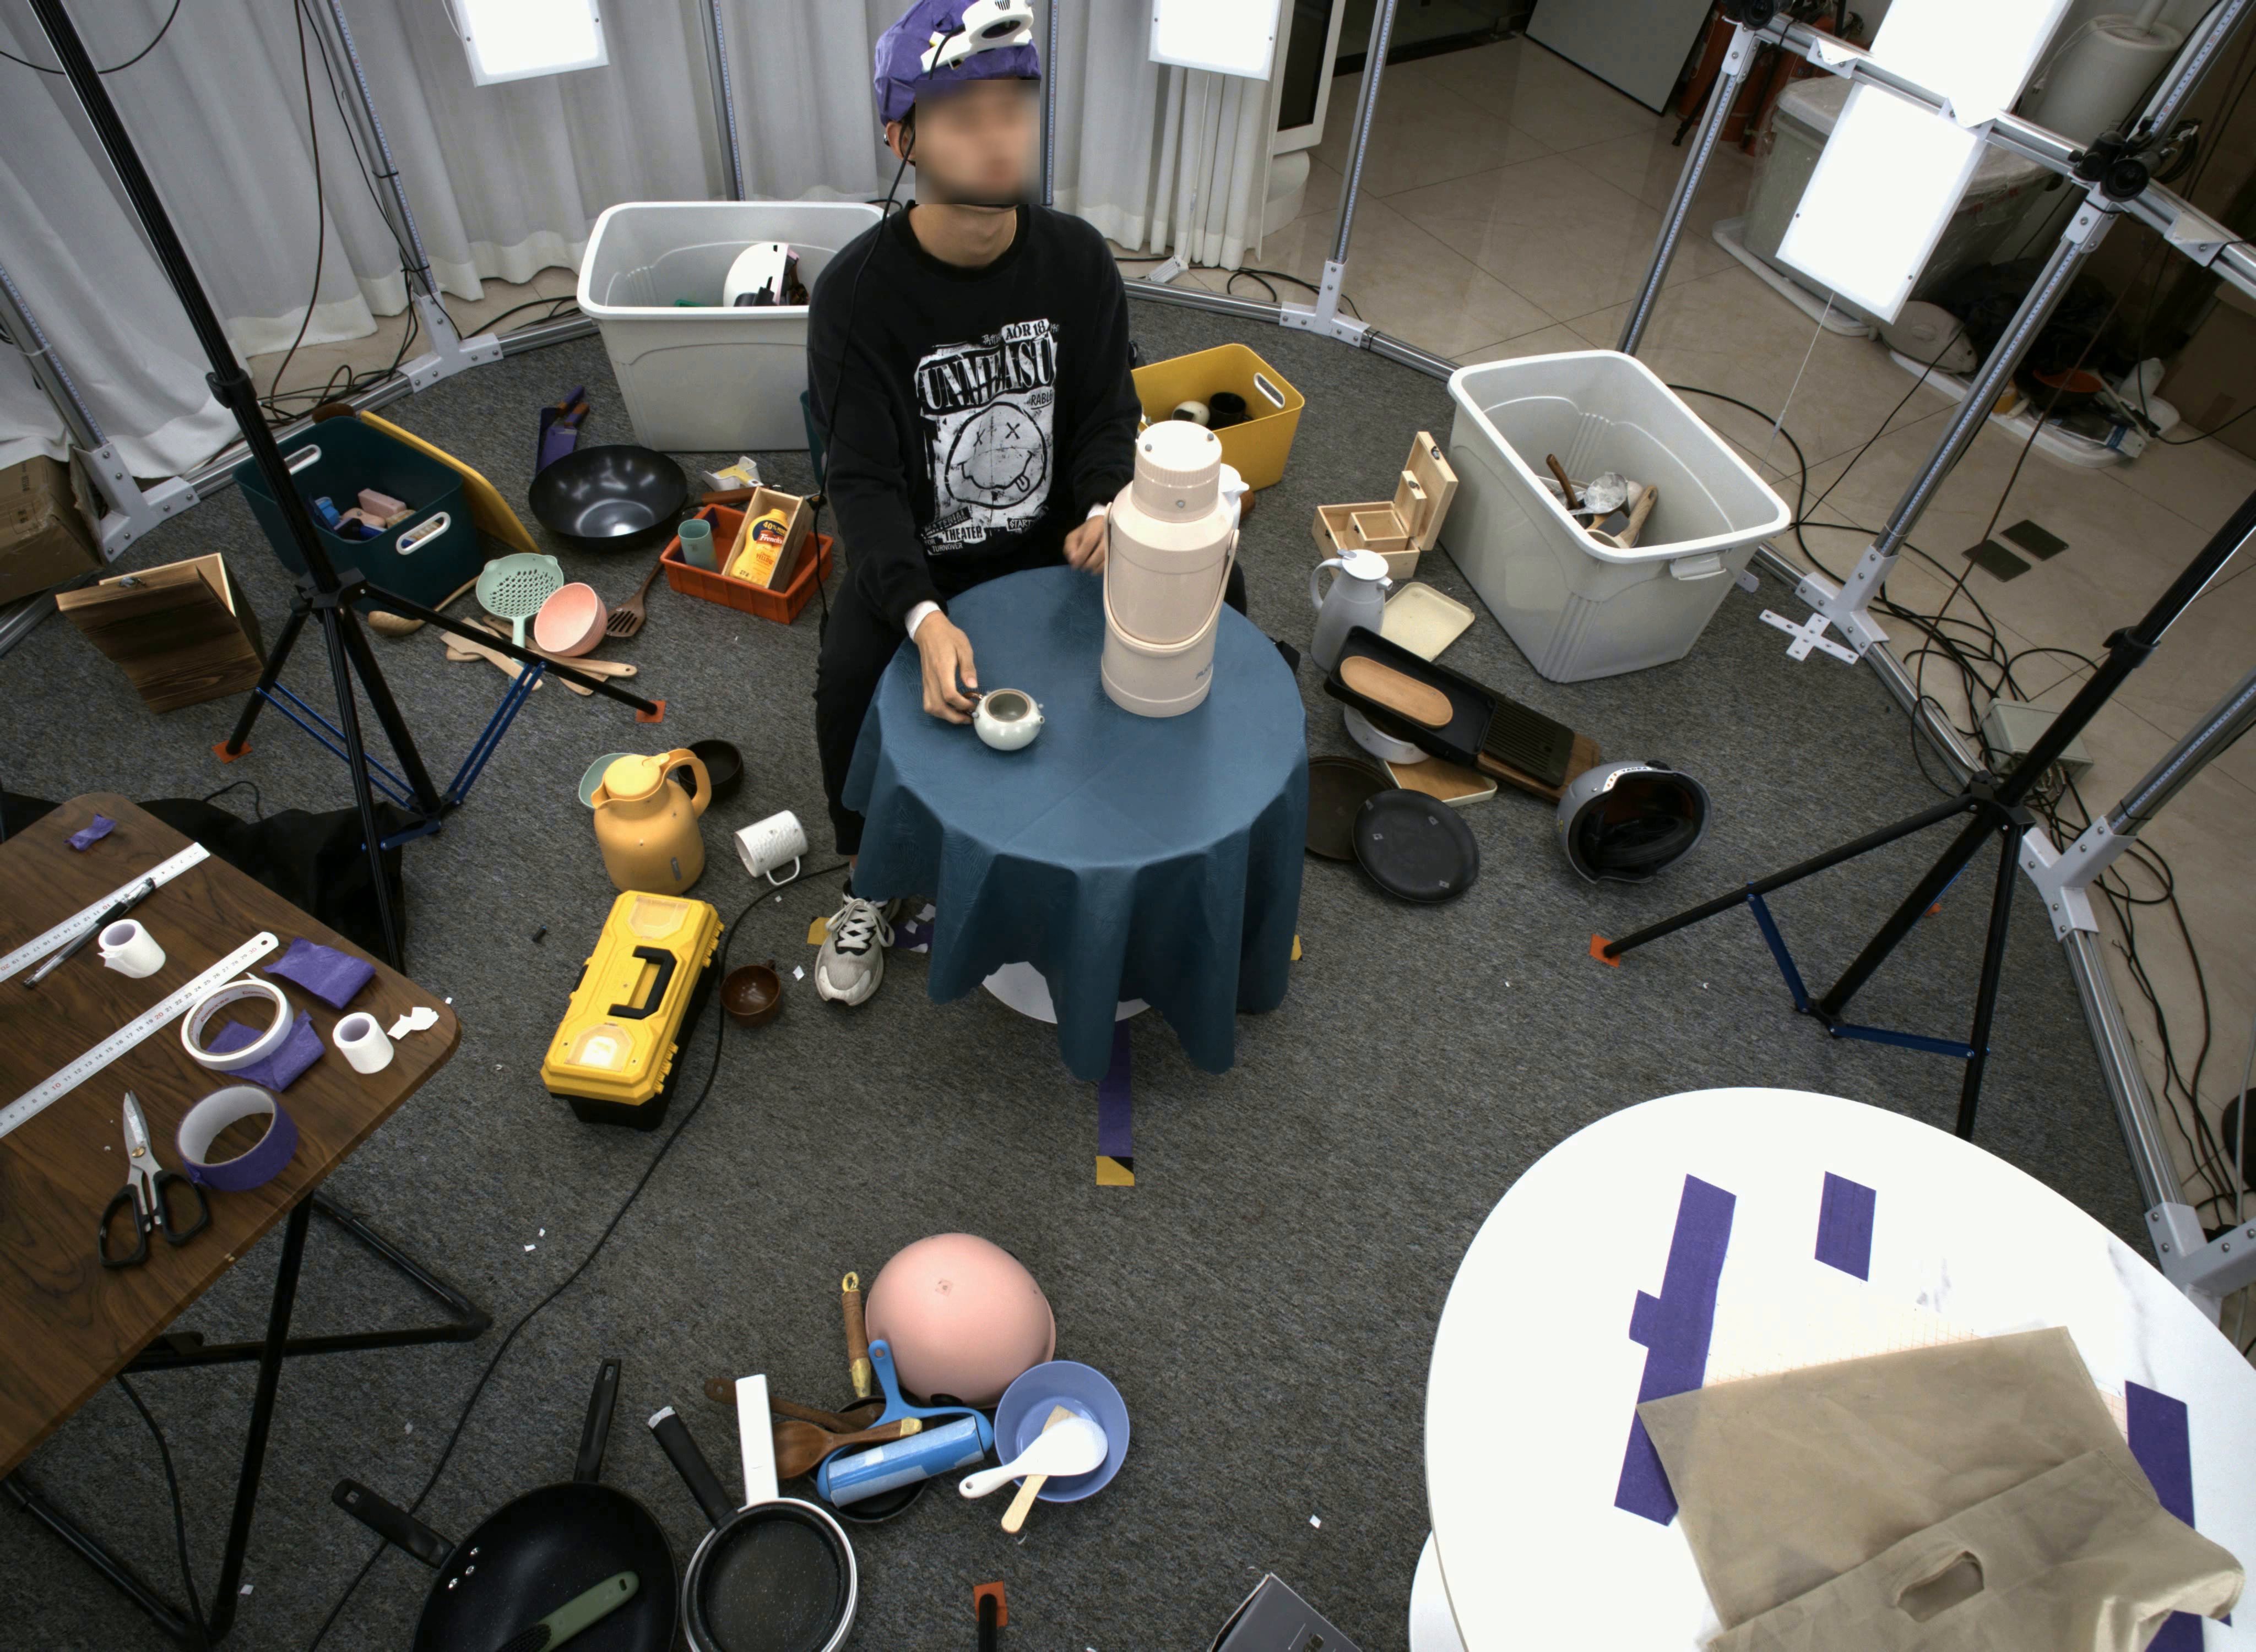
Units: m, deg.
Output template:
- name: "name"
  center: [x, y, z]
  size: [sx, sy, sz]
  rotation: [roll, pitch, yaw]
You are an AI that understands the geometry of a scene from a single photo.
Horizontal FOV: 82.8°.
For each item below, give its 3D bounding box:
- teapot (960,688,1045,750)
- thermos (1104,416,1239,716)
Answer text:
- name: "teapot"
  center: [-0.172, -0.149, 1.750]
  size: [0.128, 0.058, 0.093]
  rotation: [20, 54, 12]
- name: "thermos"
  center: [0.057, -0.349, 1.720]
  size: [0.176, 0.396, 0.211]
  rotation: [12, 50, 8]
